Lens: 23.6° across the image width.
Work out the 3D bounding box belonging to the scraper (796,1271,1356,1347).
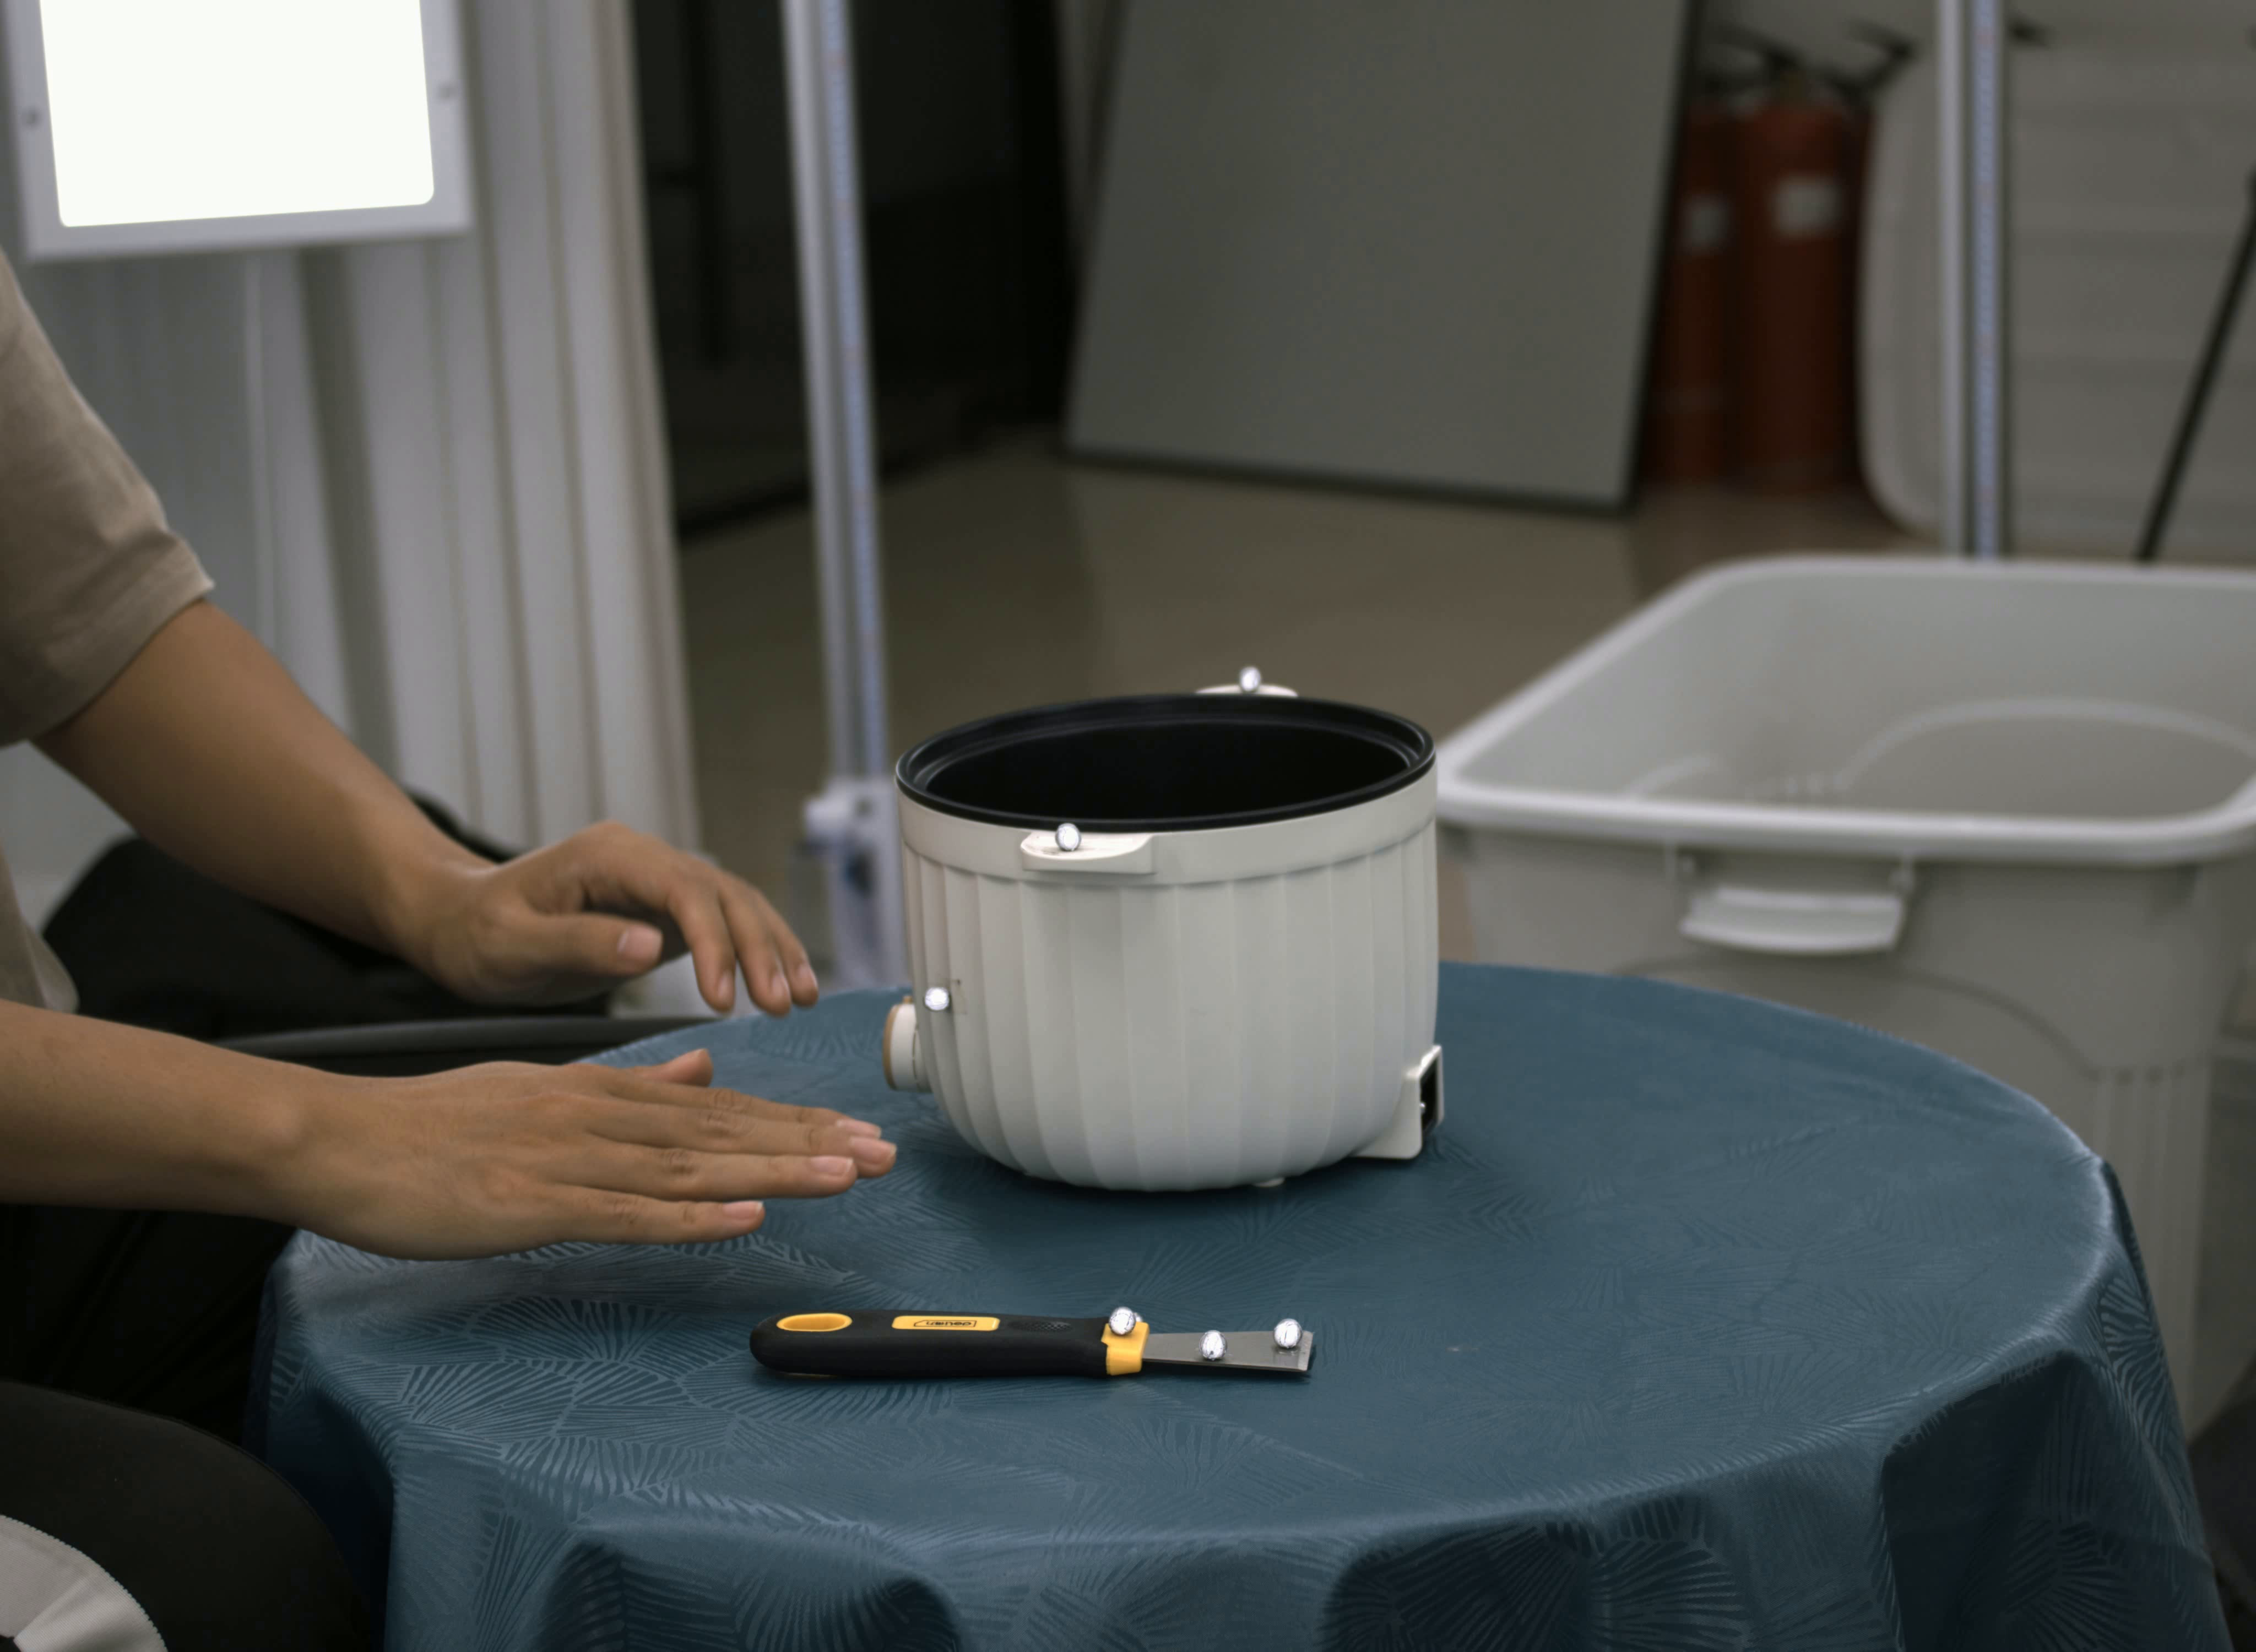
[{"bbox_3d":[-0.016,0.145,1.620,0.169,0.015,0.039,0,18,6],"label":"scraper"}]

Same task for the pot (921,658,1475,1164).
[{"bbox_3d":[0.023,0.031,1.820,0.190,0.144,0.238,4,14,15],"label":"pot"}]
